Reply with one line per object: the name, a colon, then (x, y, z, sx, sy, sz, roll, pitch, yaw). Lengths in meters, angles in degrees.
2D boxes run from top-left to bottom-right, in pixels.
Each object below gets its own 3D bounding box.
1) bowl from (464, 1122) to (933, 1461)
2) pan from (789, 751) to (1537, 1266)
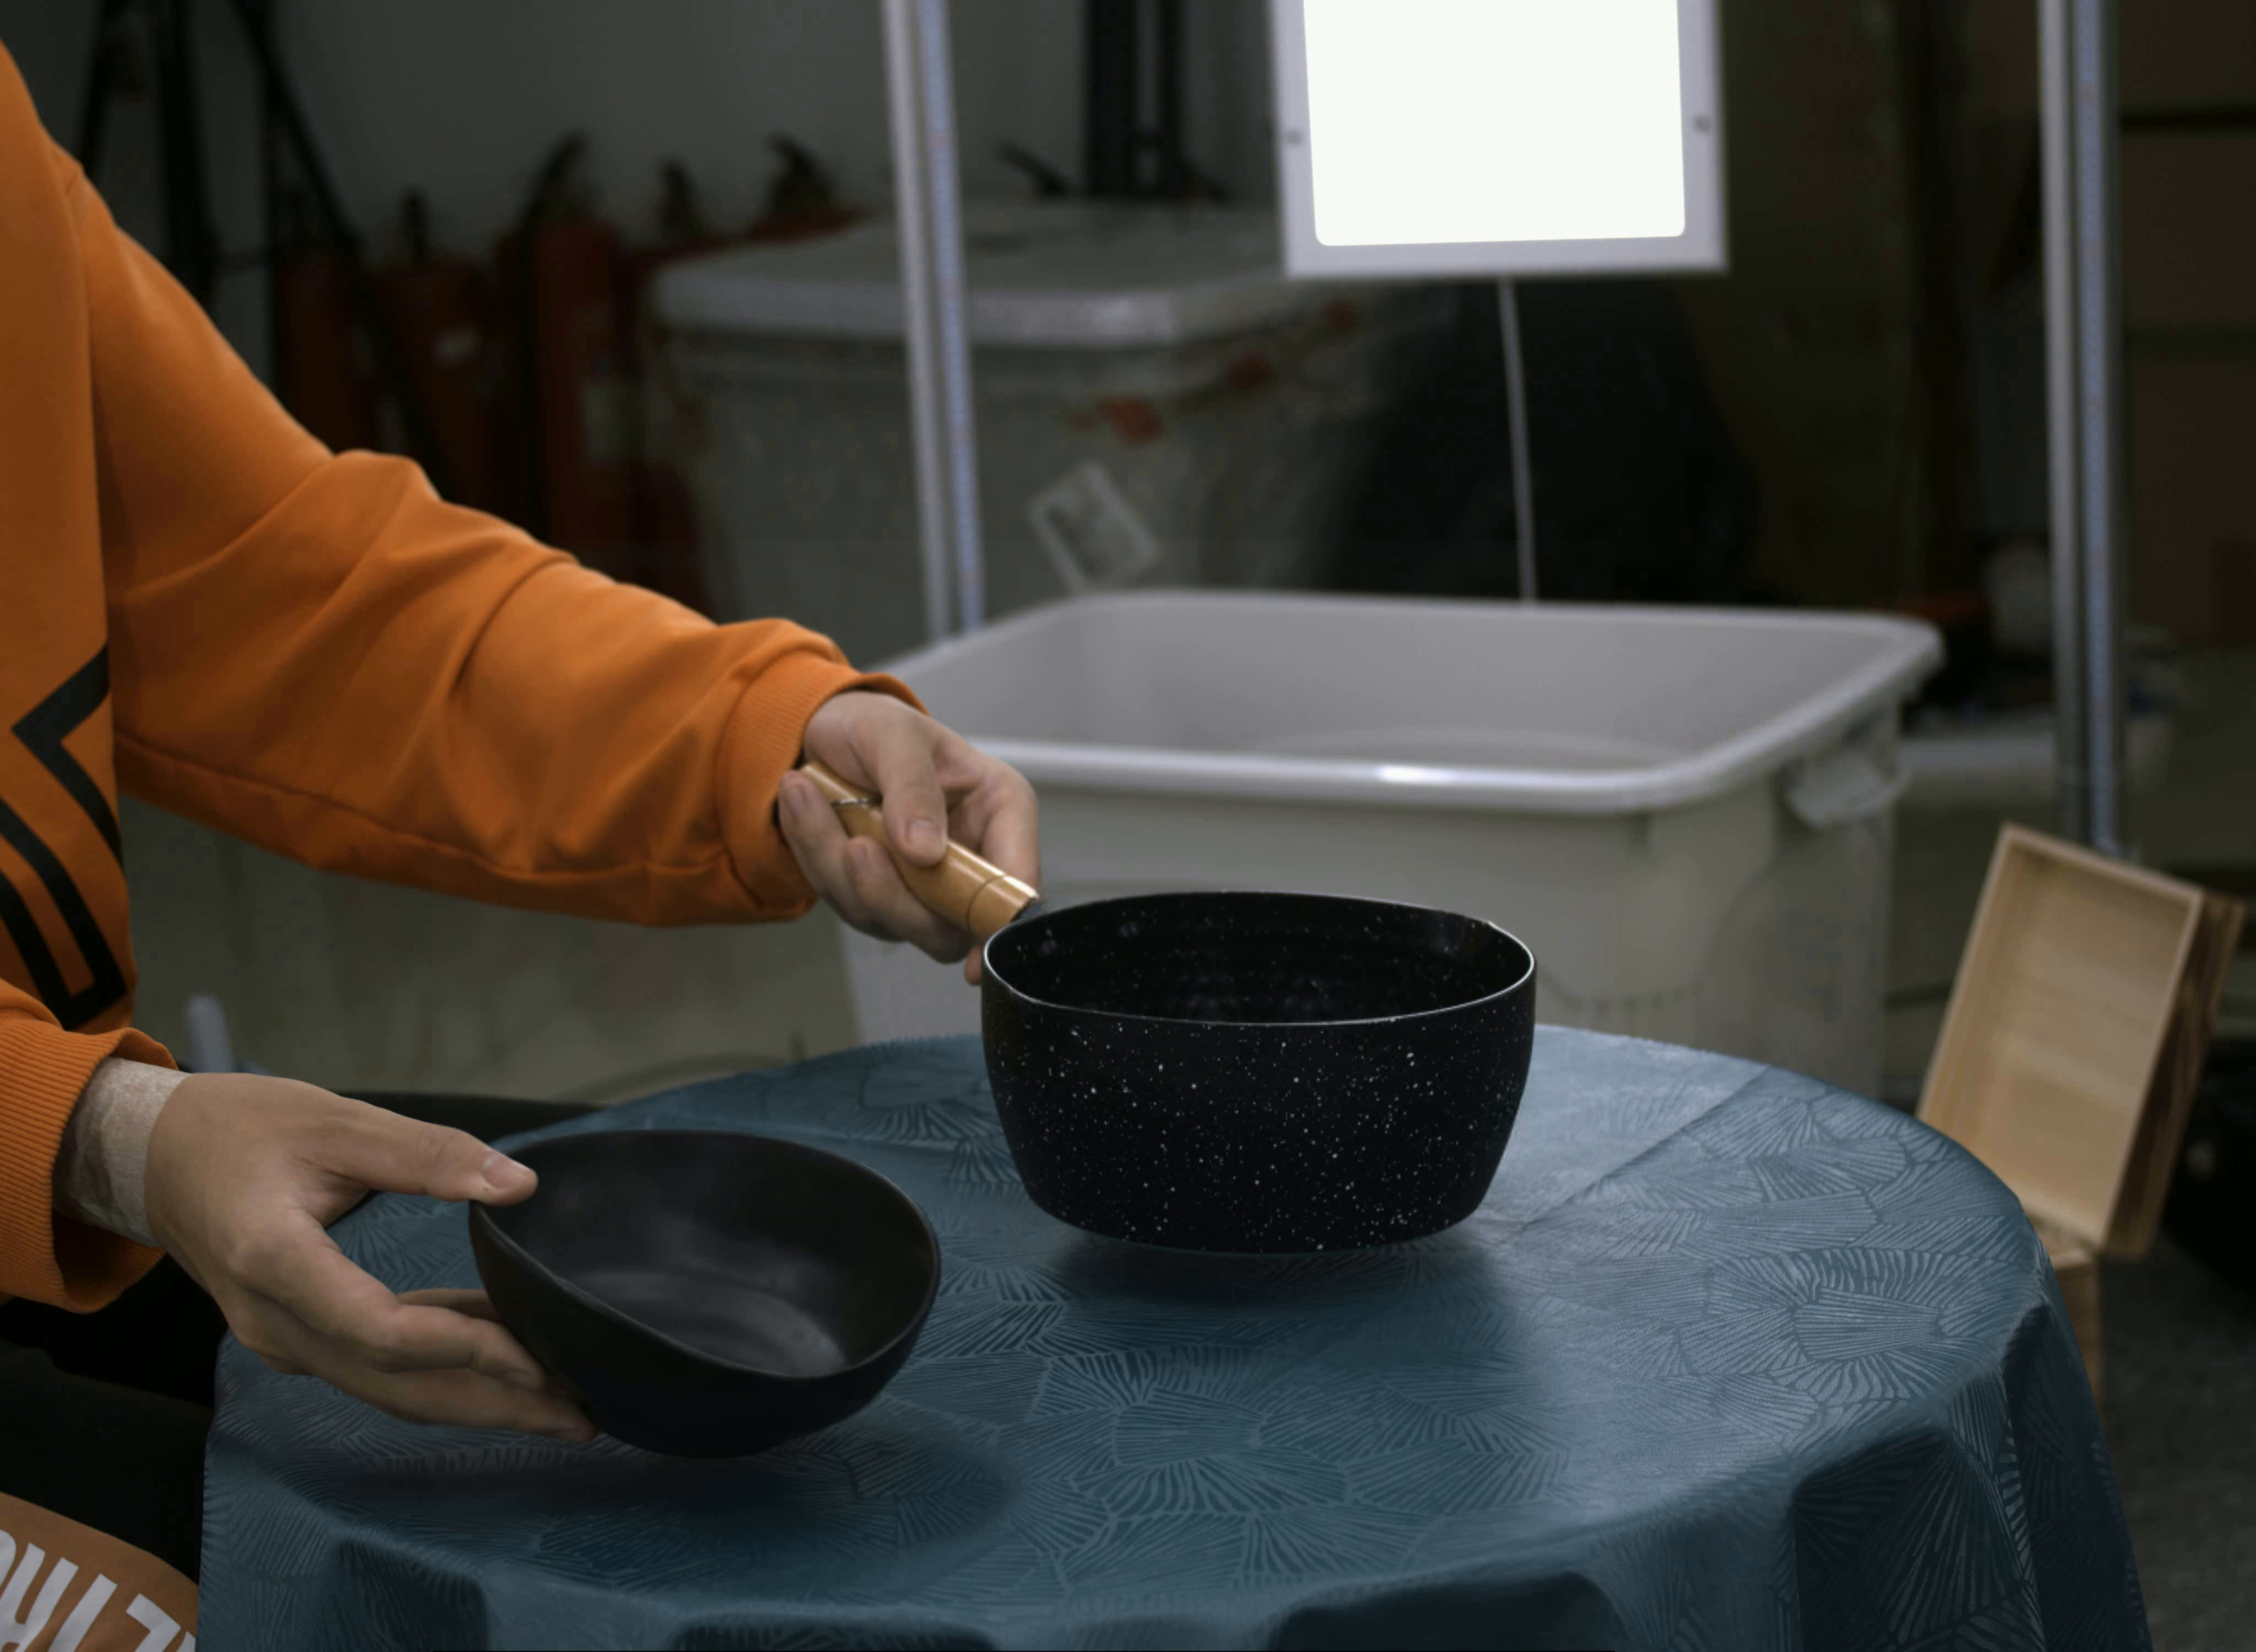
bowl: (-0.130, 0.146, 1.662, 0.134, 0.067, 0.173, -5, 23, -29)
pan: (-0.009, 0.057, 1.877, 0.202, 0.109, 0.350, -12, 18, -38)
